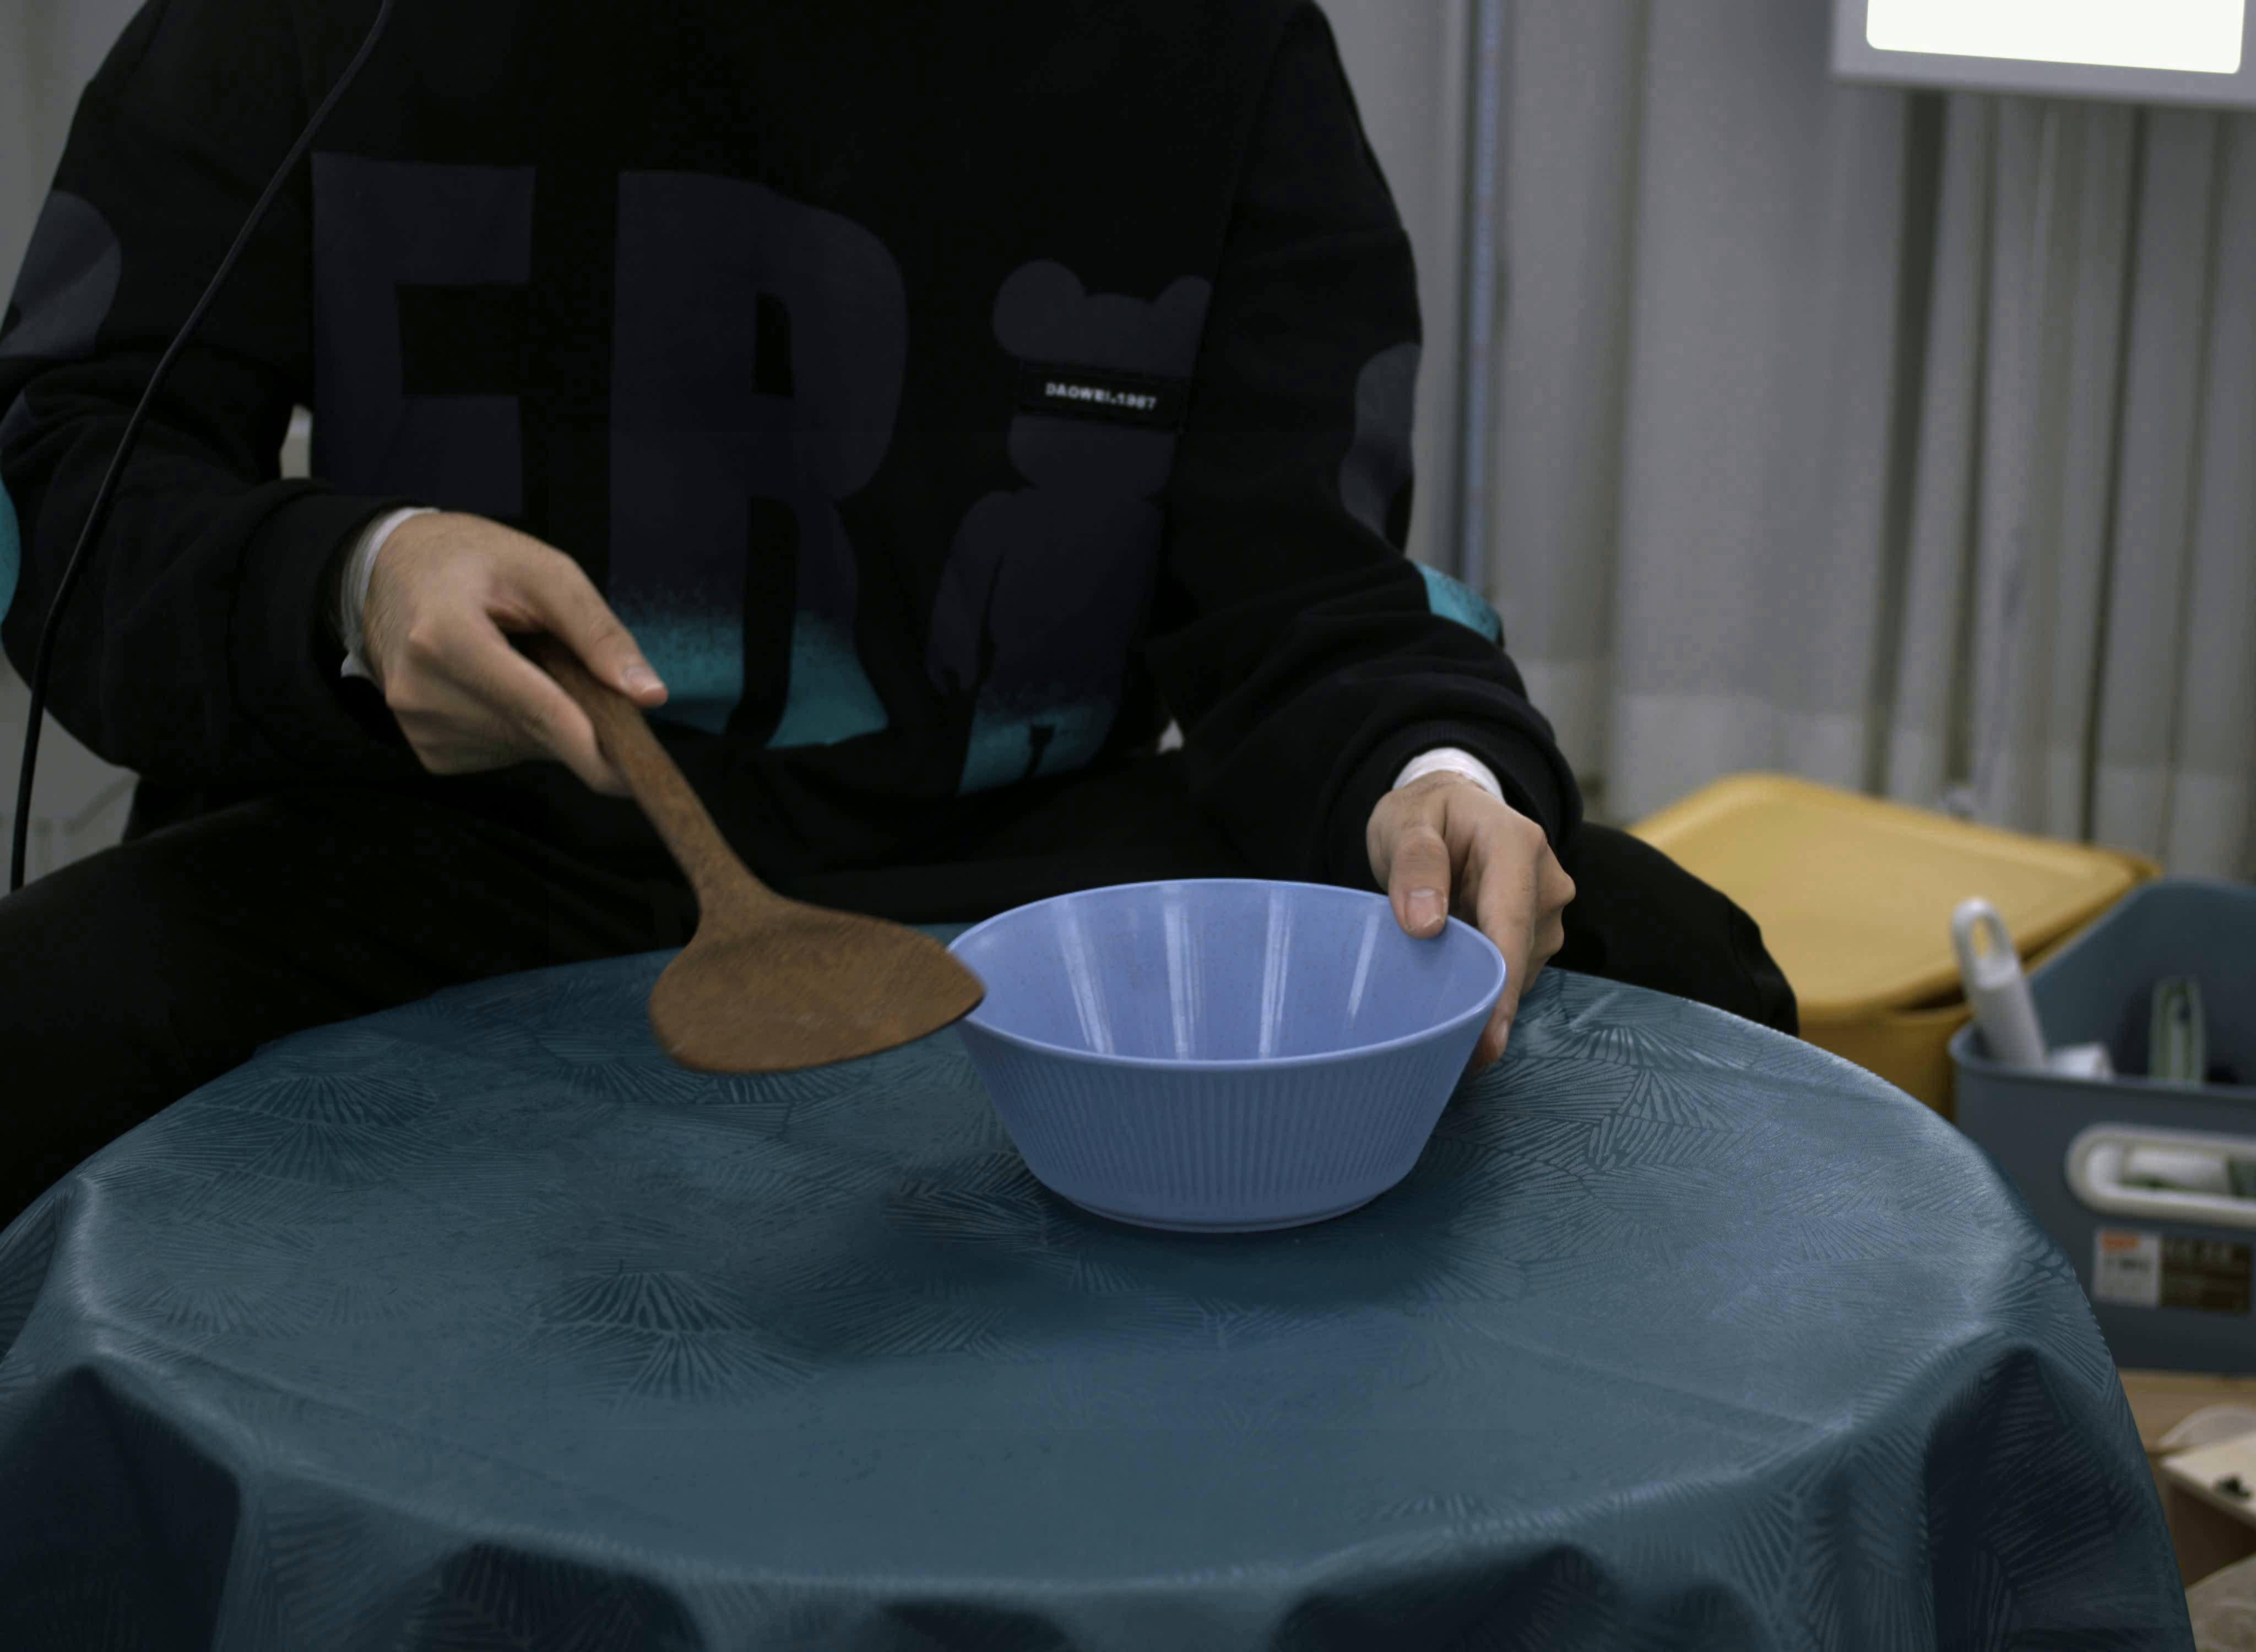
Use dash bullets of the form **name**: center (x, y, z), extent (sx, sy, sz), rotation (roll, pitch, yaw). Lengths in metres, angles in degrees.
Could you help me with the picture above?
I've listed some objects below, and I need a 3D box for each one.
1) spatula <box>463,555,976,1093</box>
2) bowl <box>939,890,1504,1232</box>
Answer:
- **spatula**: center (-0.150, -0.010, 1.658), extent (0.096, 0.016, 0.381), rotation (-13, 31, -17)
- **bowl**: center (0.029, 0.075, 1.627), extent (0.175, 0.071, 0.175), rotation (0, 16, 1)
